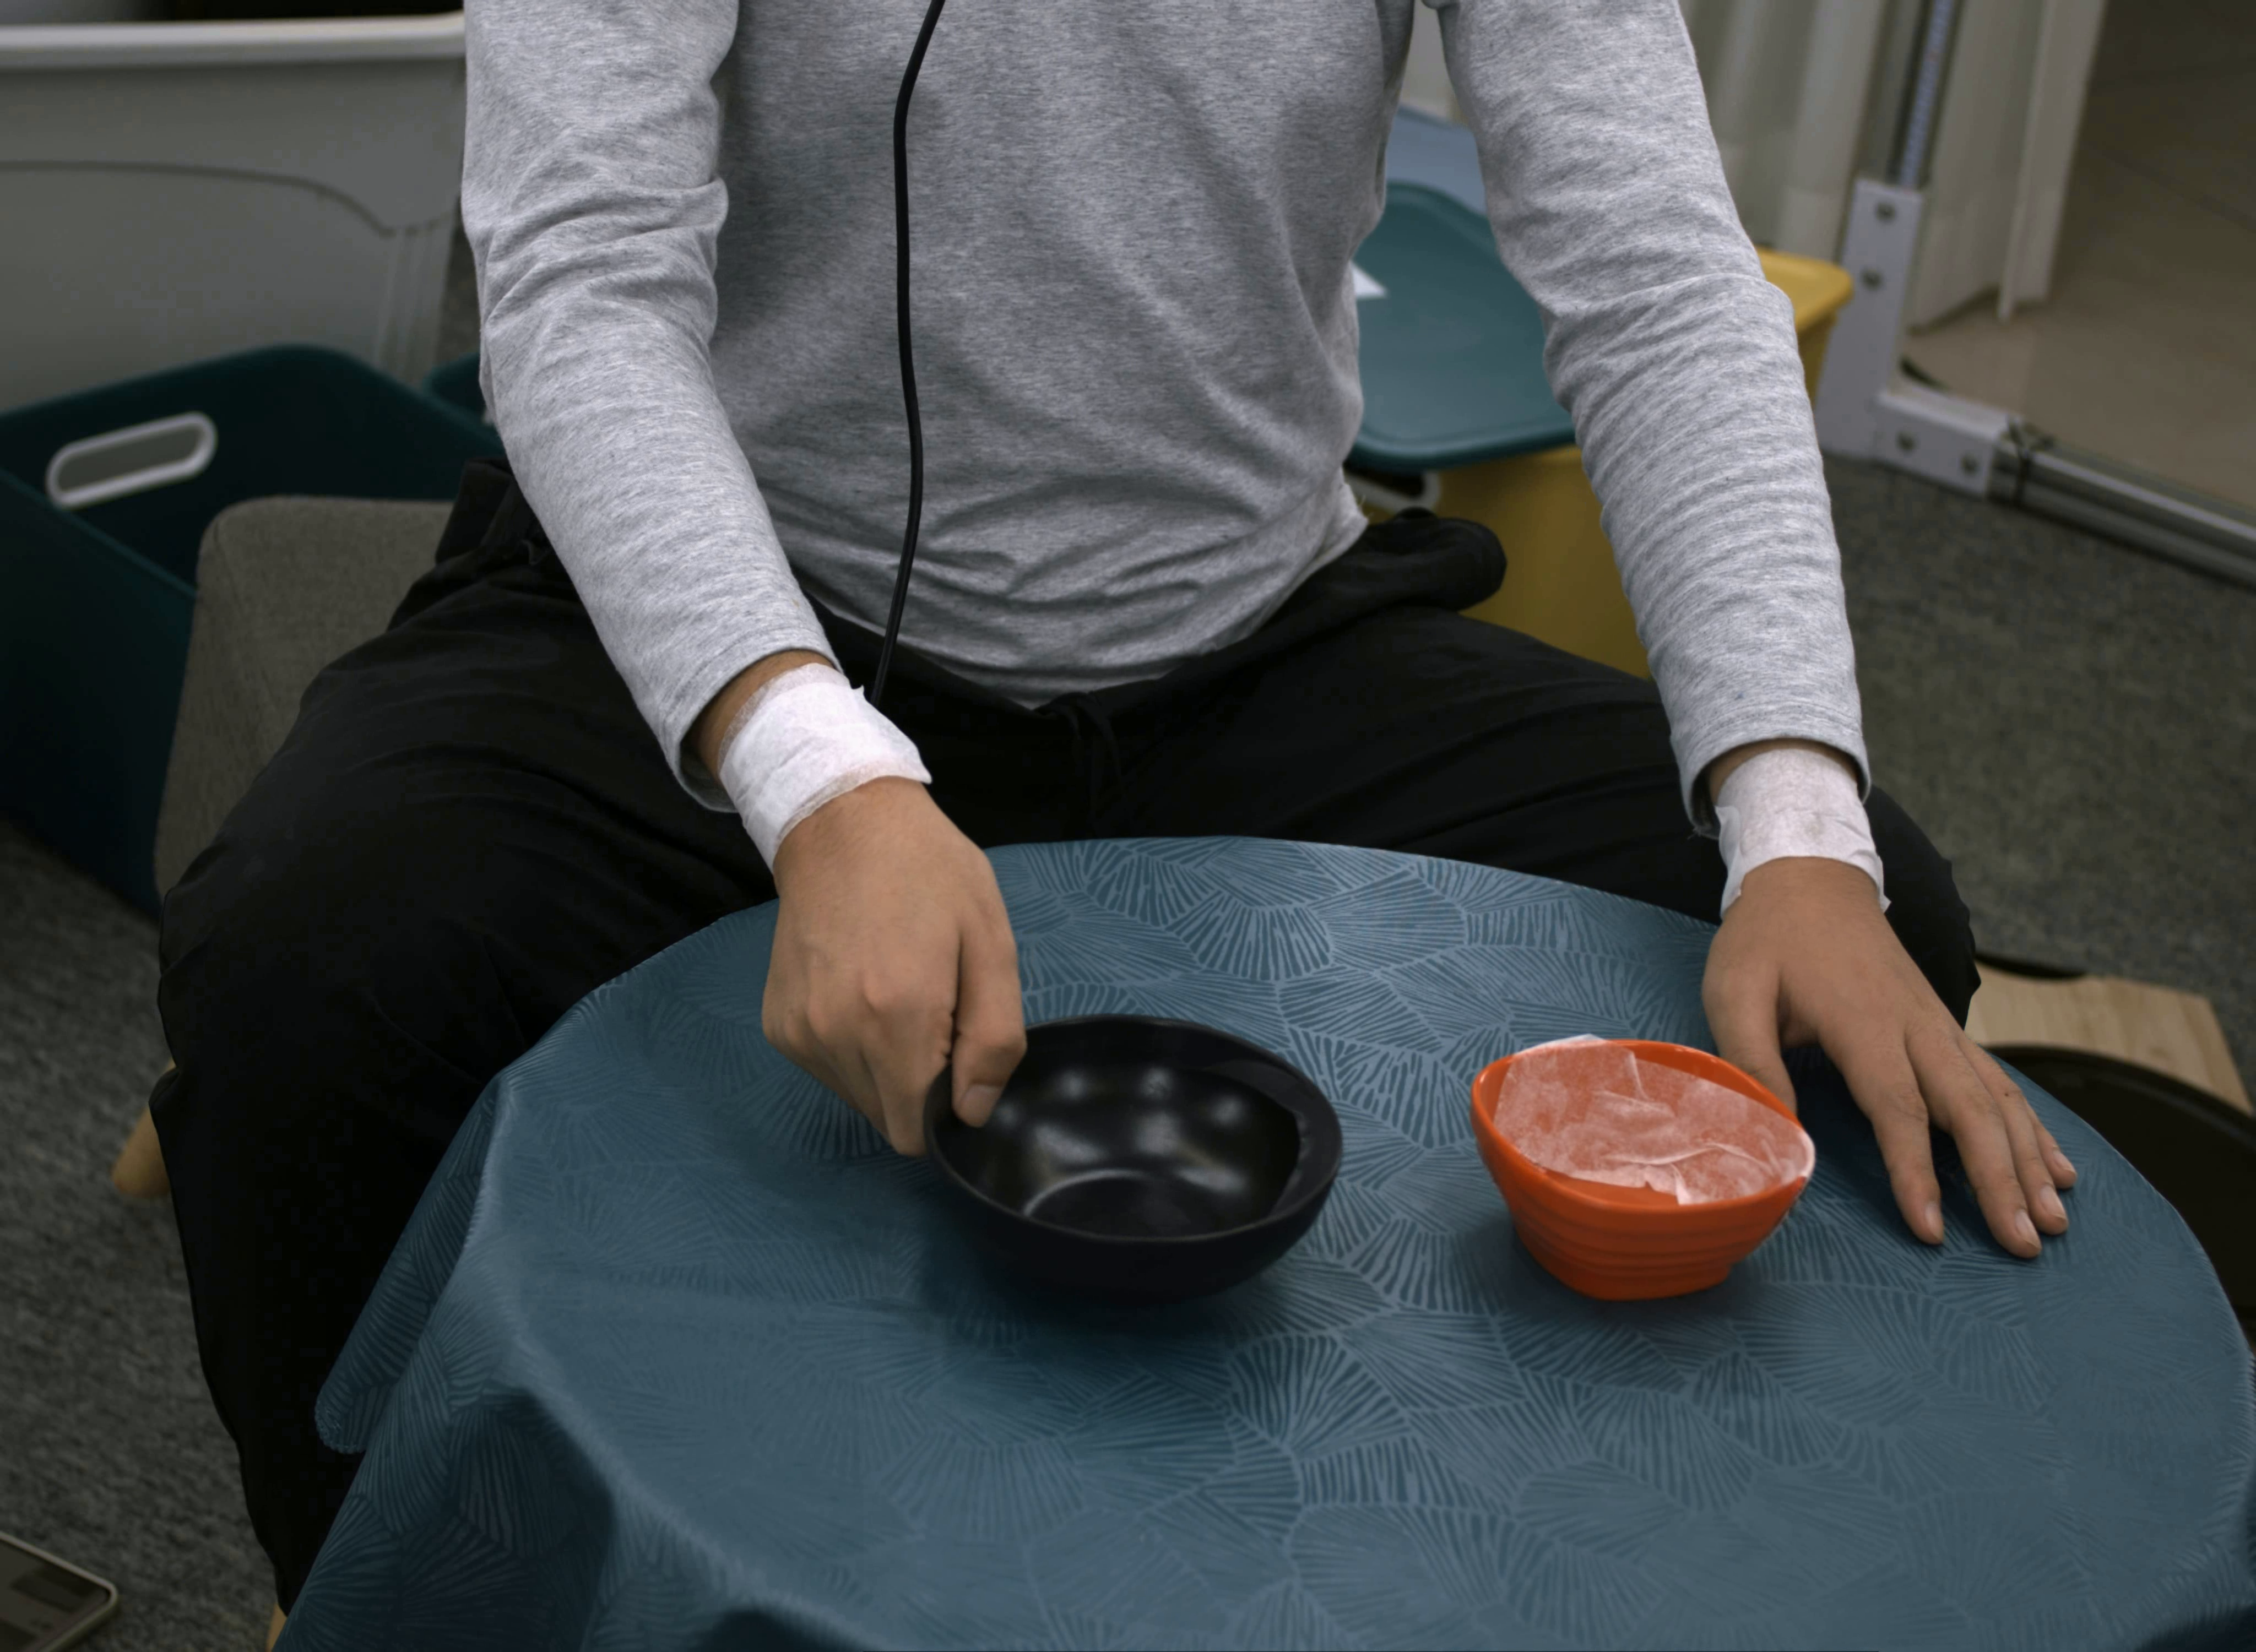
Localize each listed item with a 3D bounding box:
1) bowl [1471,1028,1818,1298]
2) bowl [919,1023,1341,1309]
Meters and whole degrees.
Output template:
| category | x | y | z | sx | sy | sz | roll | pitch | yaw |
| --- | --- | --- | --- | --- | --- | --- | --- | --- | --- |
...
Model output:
| category | x | y | z | sx | sy | sz | roll | pitch | yaw |
| --- | --- | --- | --- | --- | --- | --- | --- | --- | --- |
| bowl | 0.170 | 0.118 | 1.795 | 0.118 | 0.051 | 0.119 | 5 | 29 | -3 |
| bowl | 0.000 | 0.120 | 1.754 | 0.139 | 0.049 | 0.141 | 3 | 27 | -2 |
